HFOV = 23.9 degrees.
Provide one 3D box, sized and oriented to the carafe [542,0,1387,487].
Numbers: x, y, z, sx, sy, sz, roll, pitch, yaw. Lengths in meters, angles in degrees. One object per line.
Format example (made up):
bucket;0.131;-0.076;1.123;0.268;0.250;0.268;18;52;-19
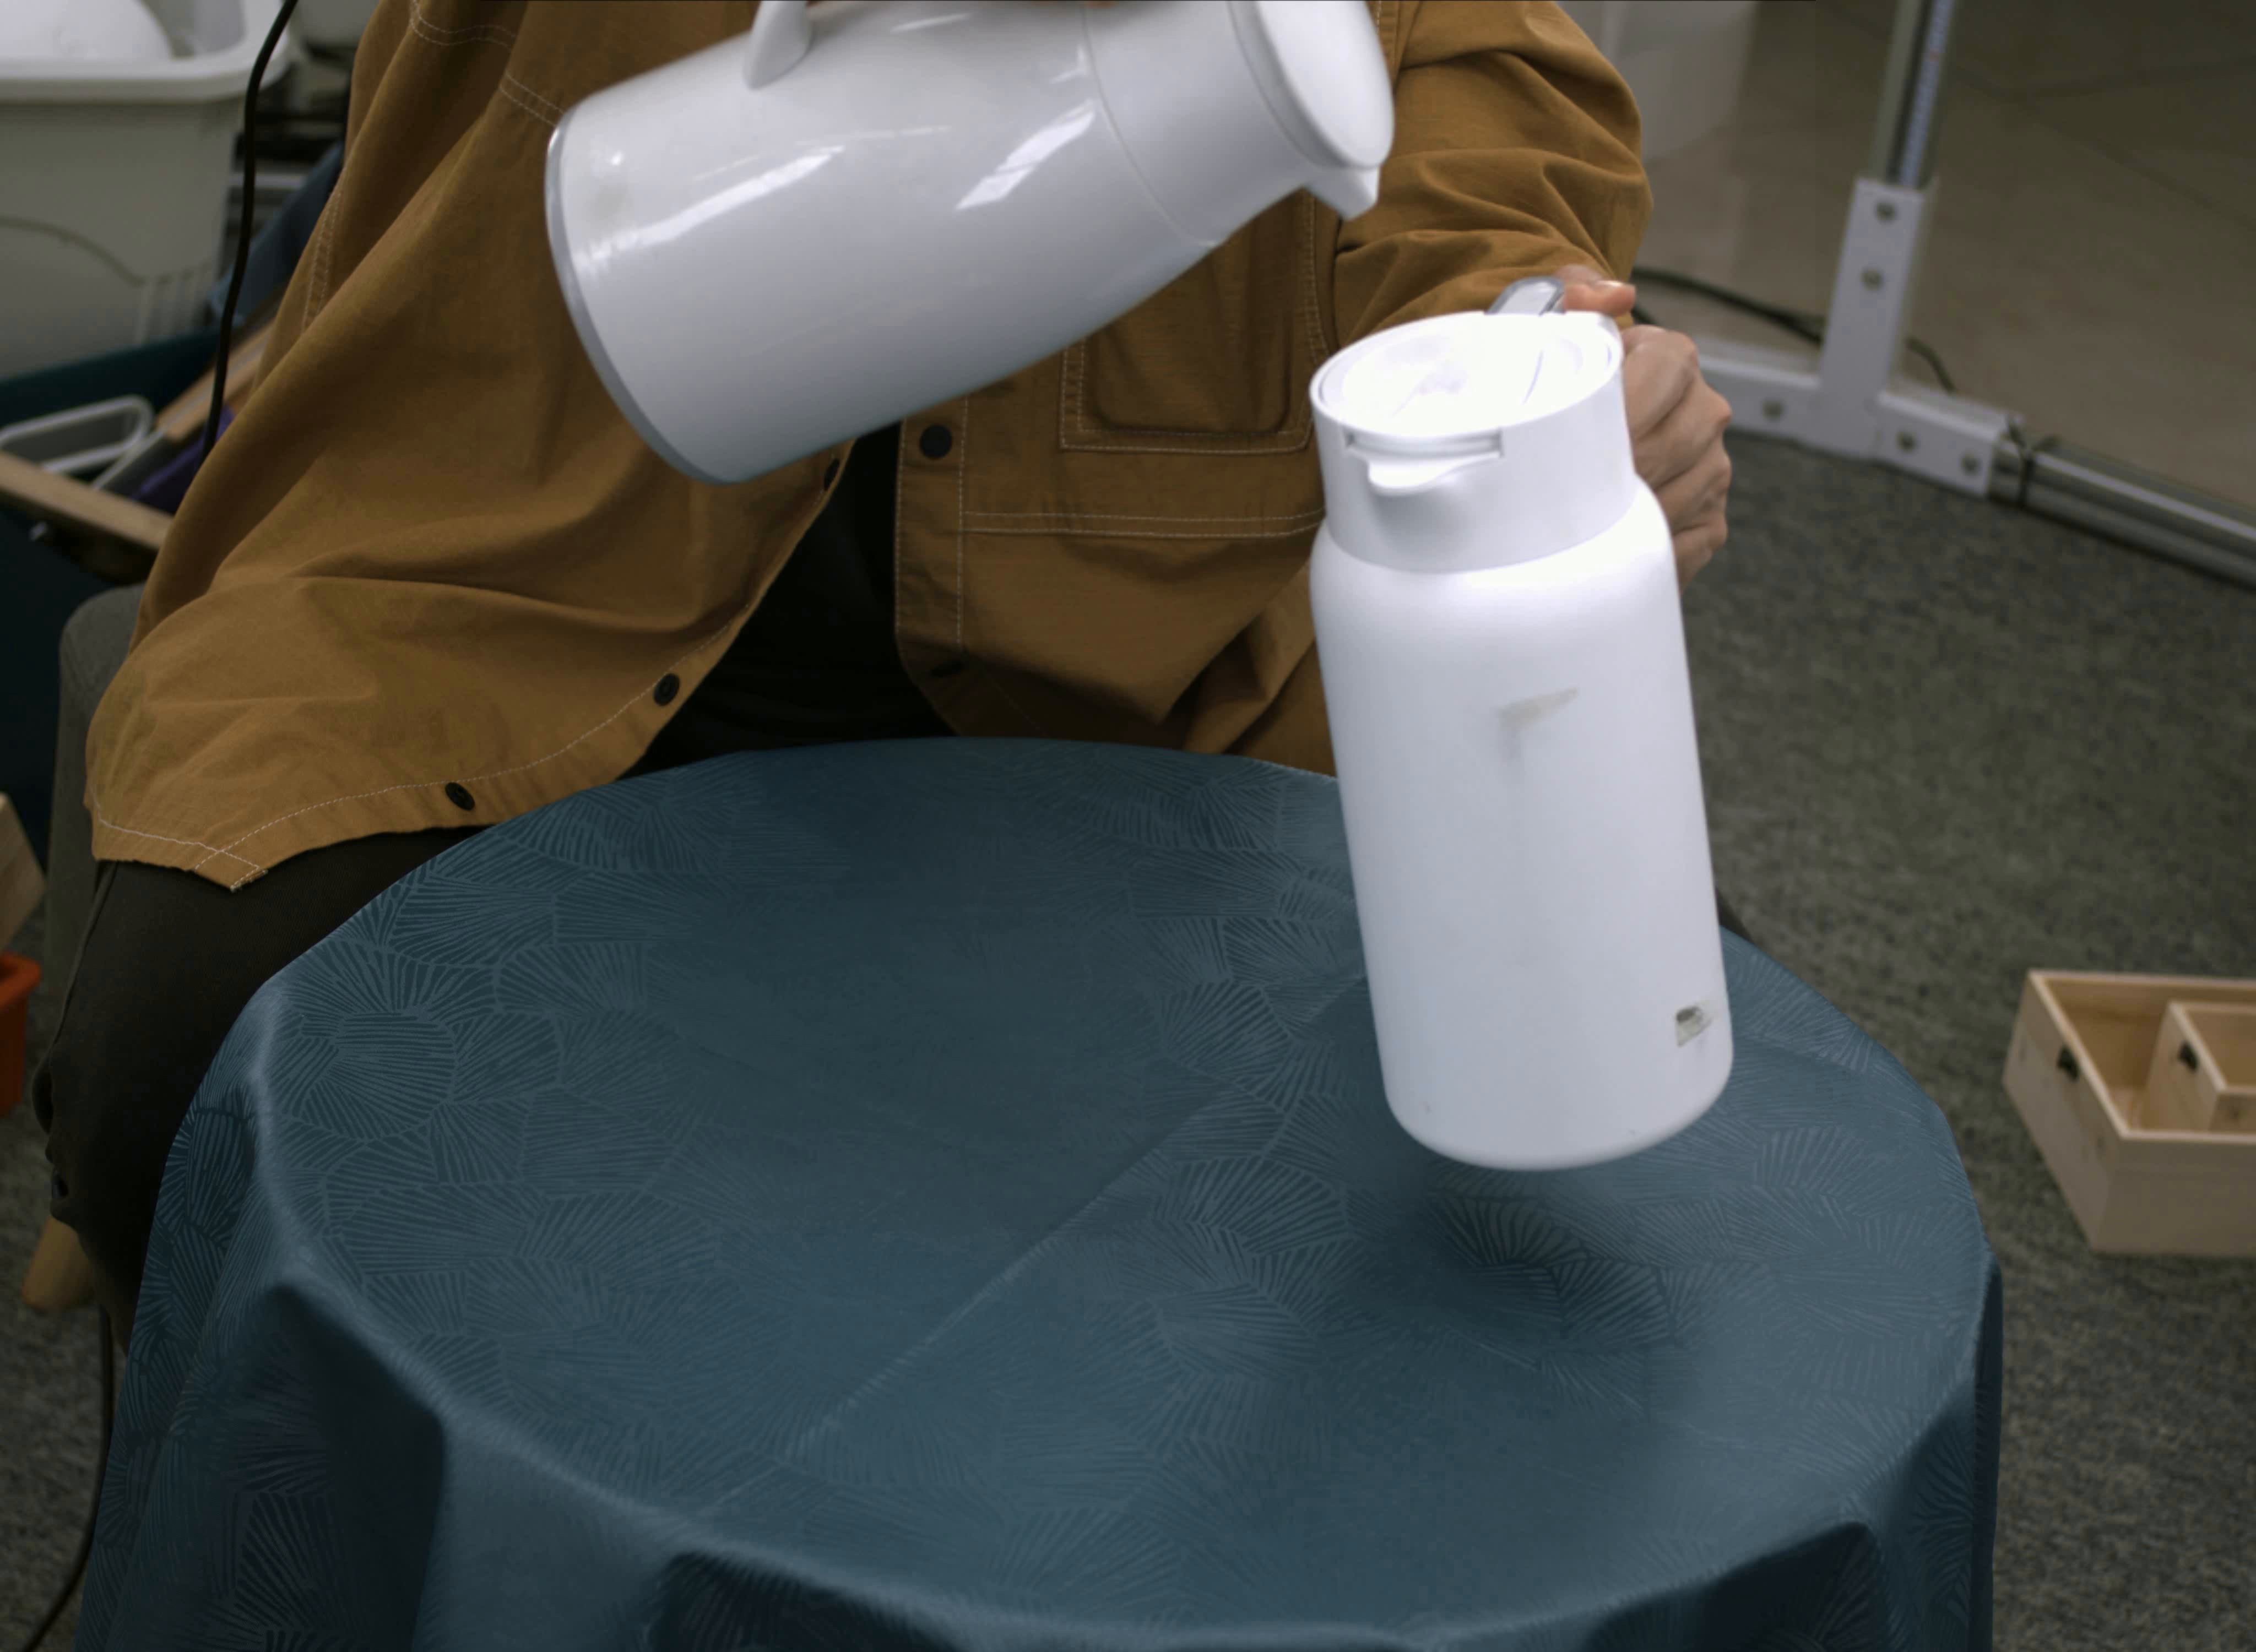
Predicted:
carafe;-0.054;-0.219;1.639;0.249;0.166;0.133;-20;39;24

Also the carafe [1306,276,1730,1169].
carafe;0.129;-0.037;1.735;0.124;0.268;0.173;1;27;25
